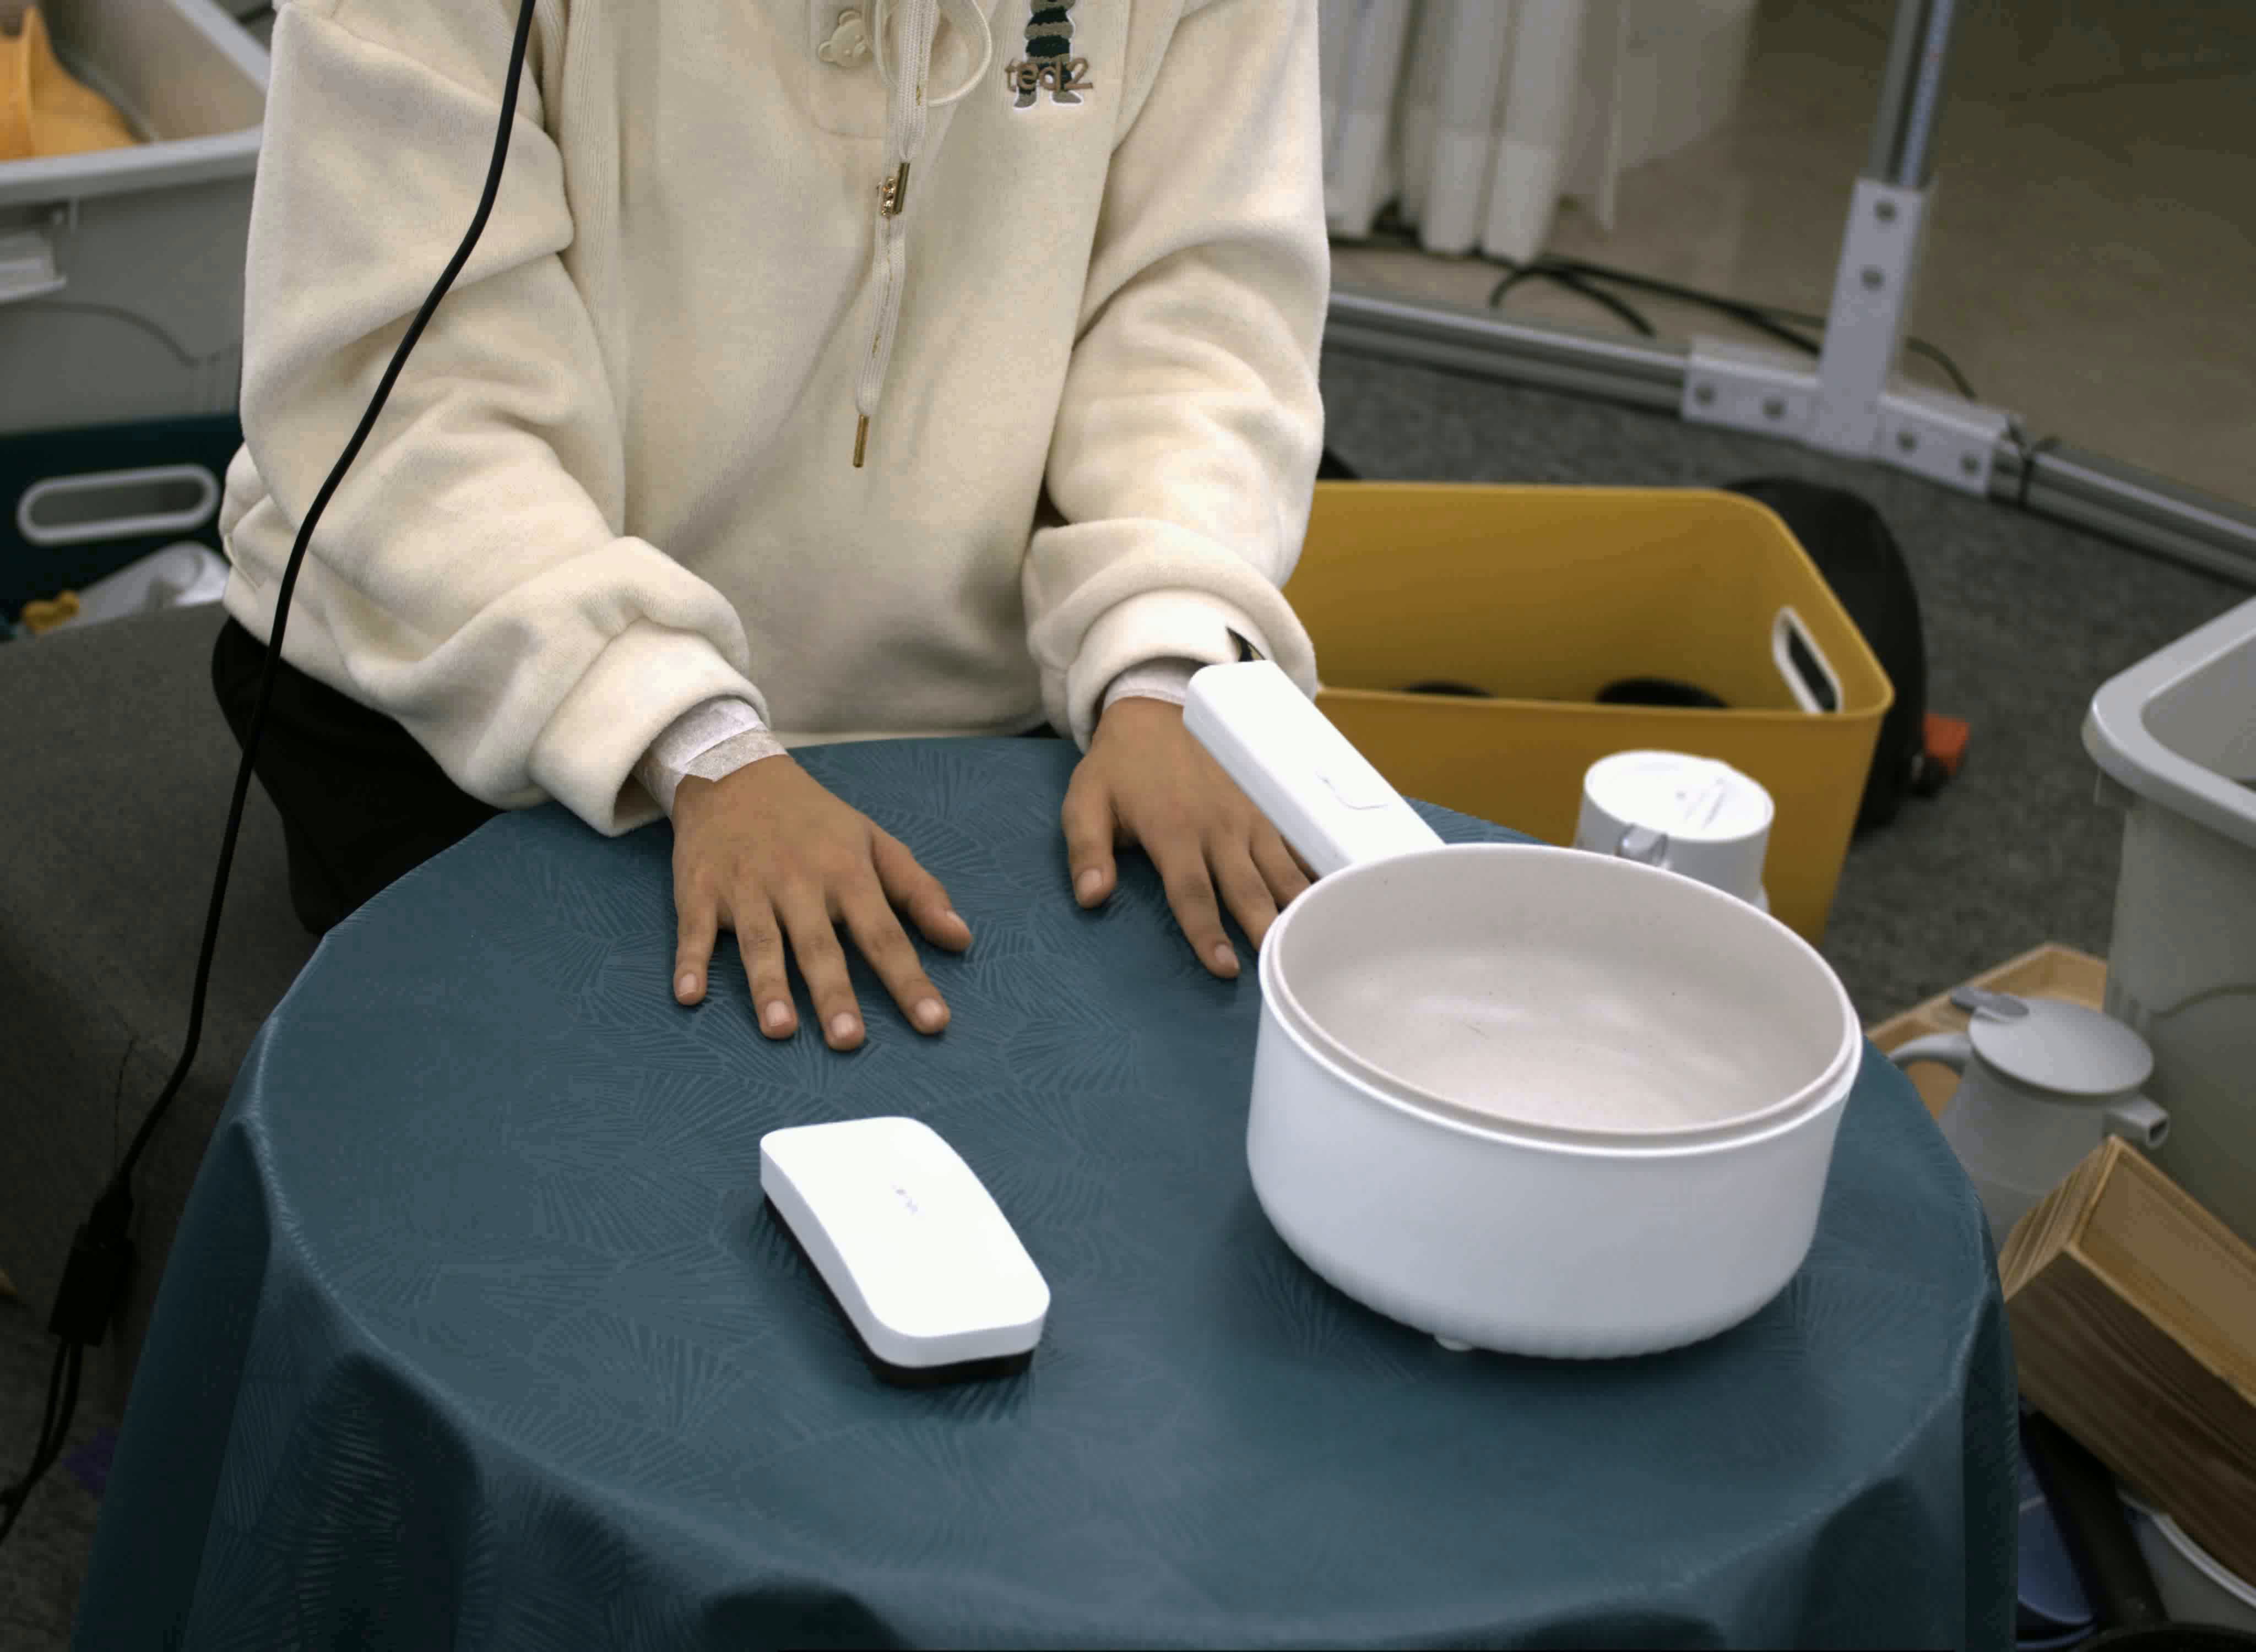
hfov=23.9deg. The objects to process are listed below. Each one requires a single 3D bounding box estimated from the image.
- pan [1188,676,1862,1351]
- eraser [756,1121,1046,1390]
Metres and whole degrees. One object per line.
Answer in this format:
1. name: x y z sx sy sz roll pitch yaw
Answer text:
1. pan: 0.106 0.062 1.838 0.200 0.102 0.358 -5 27 -25
2. eraser: -0.074 0.135 1.729 0.063 0.034 0.132 -3 29 -24
